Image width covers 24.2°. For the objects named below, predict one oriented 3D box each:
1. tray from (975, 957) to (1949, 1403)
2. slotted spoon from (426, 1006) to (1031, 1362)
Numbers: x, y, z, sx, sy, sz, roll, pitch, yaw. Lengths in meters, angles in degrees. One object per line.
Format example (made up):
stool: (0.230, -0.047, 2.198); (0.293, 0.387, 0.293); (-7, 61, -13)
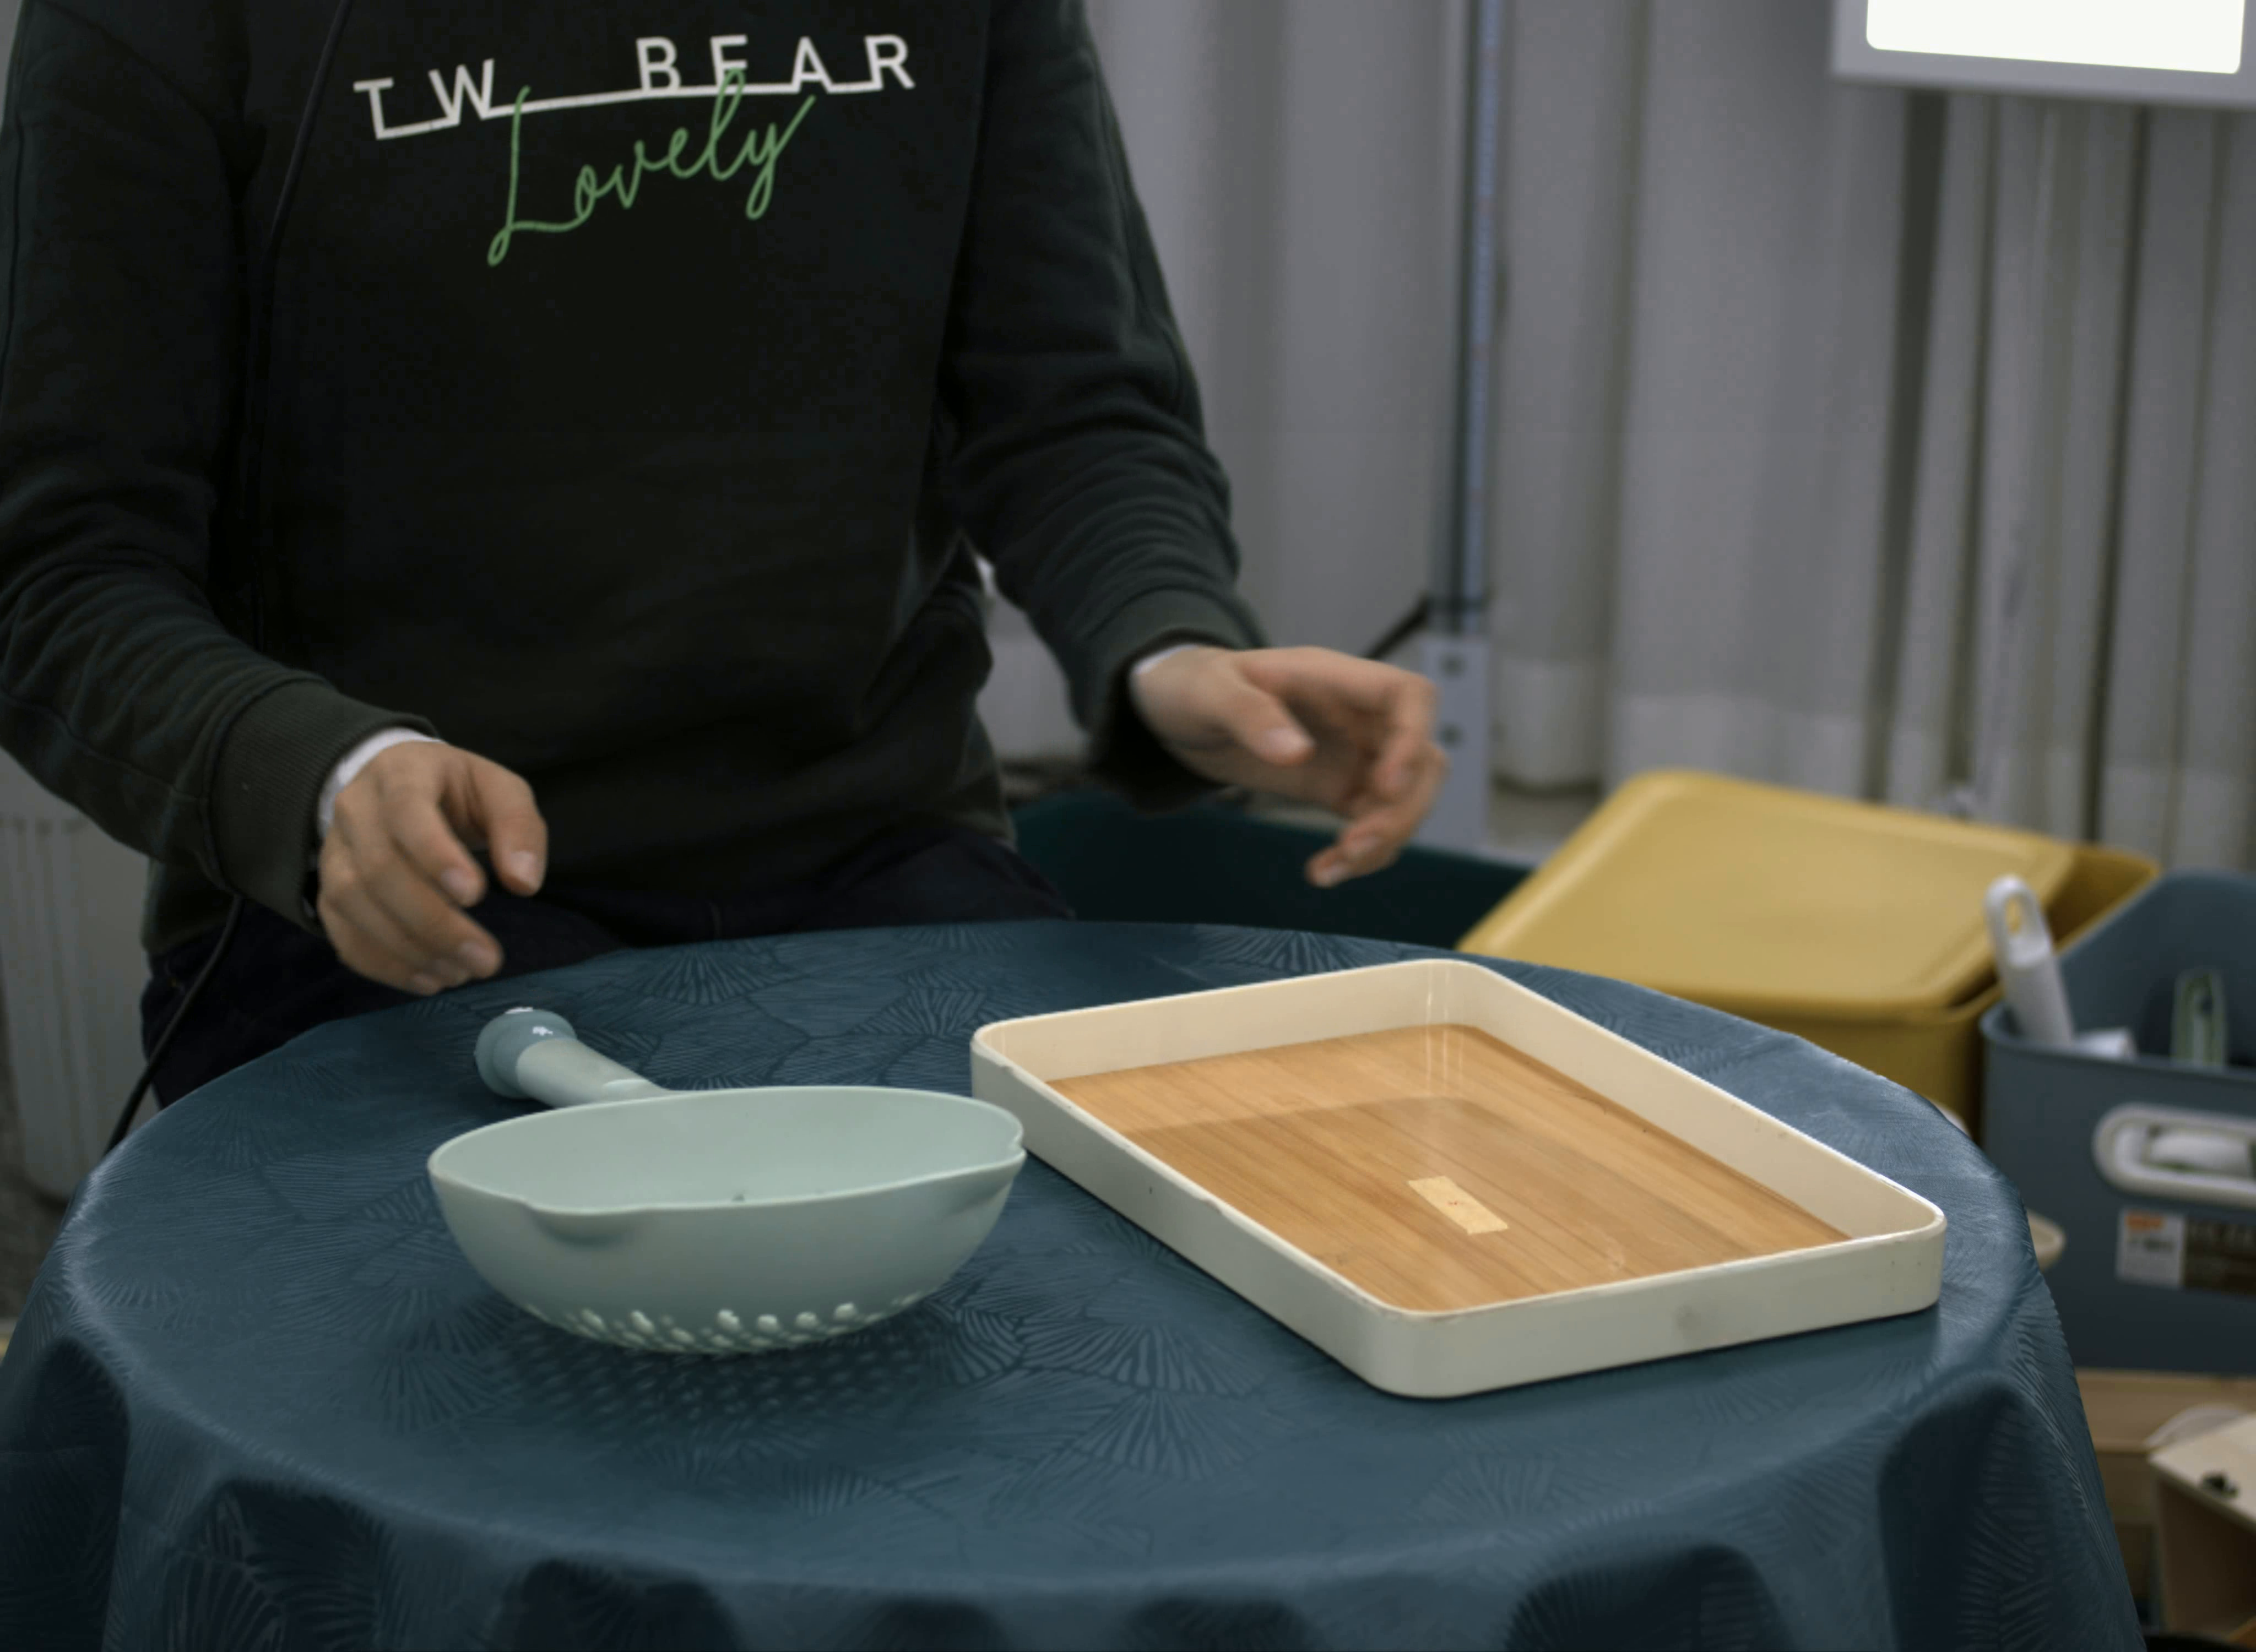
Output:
tray: (0.095, 0.103, 1.616); (0.192, 0.027, 0.296); (-7, 18, -26)
slotted spoon: (-0.146, 0.091, 1.578); (0.170, 0.076, 0.355); (-5, 17, -20)
